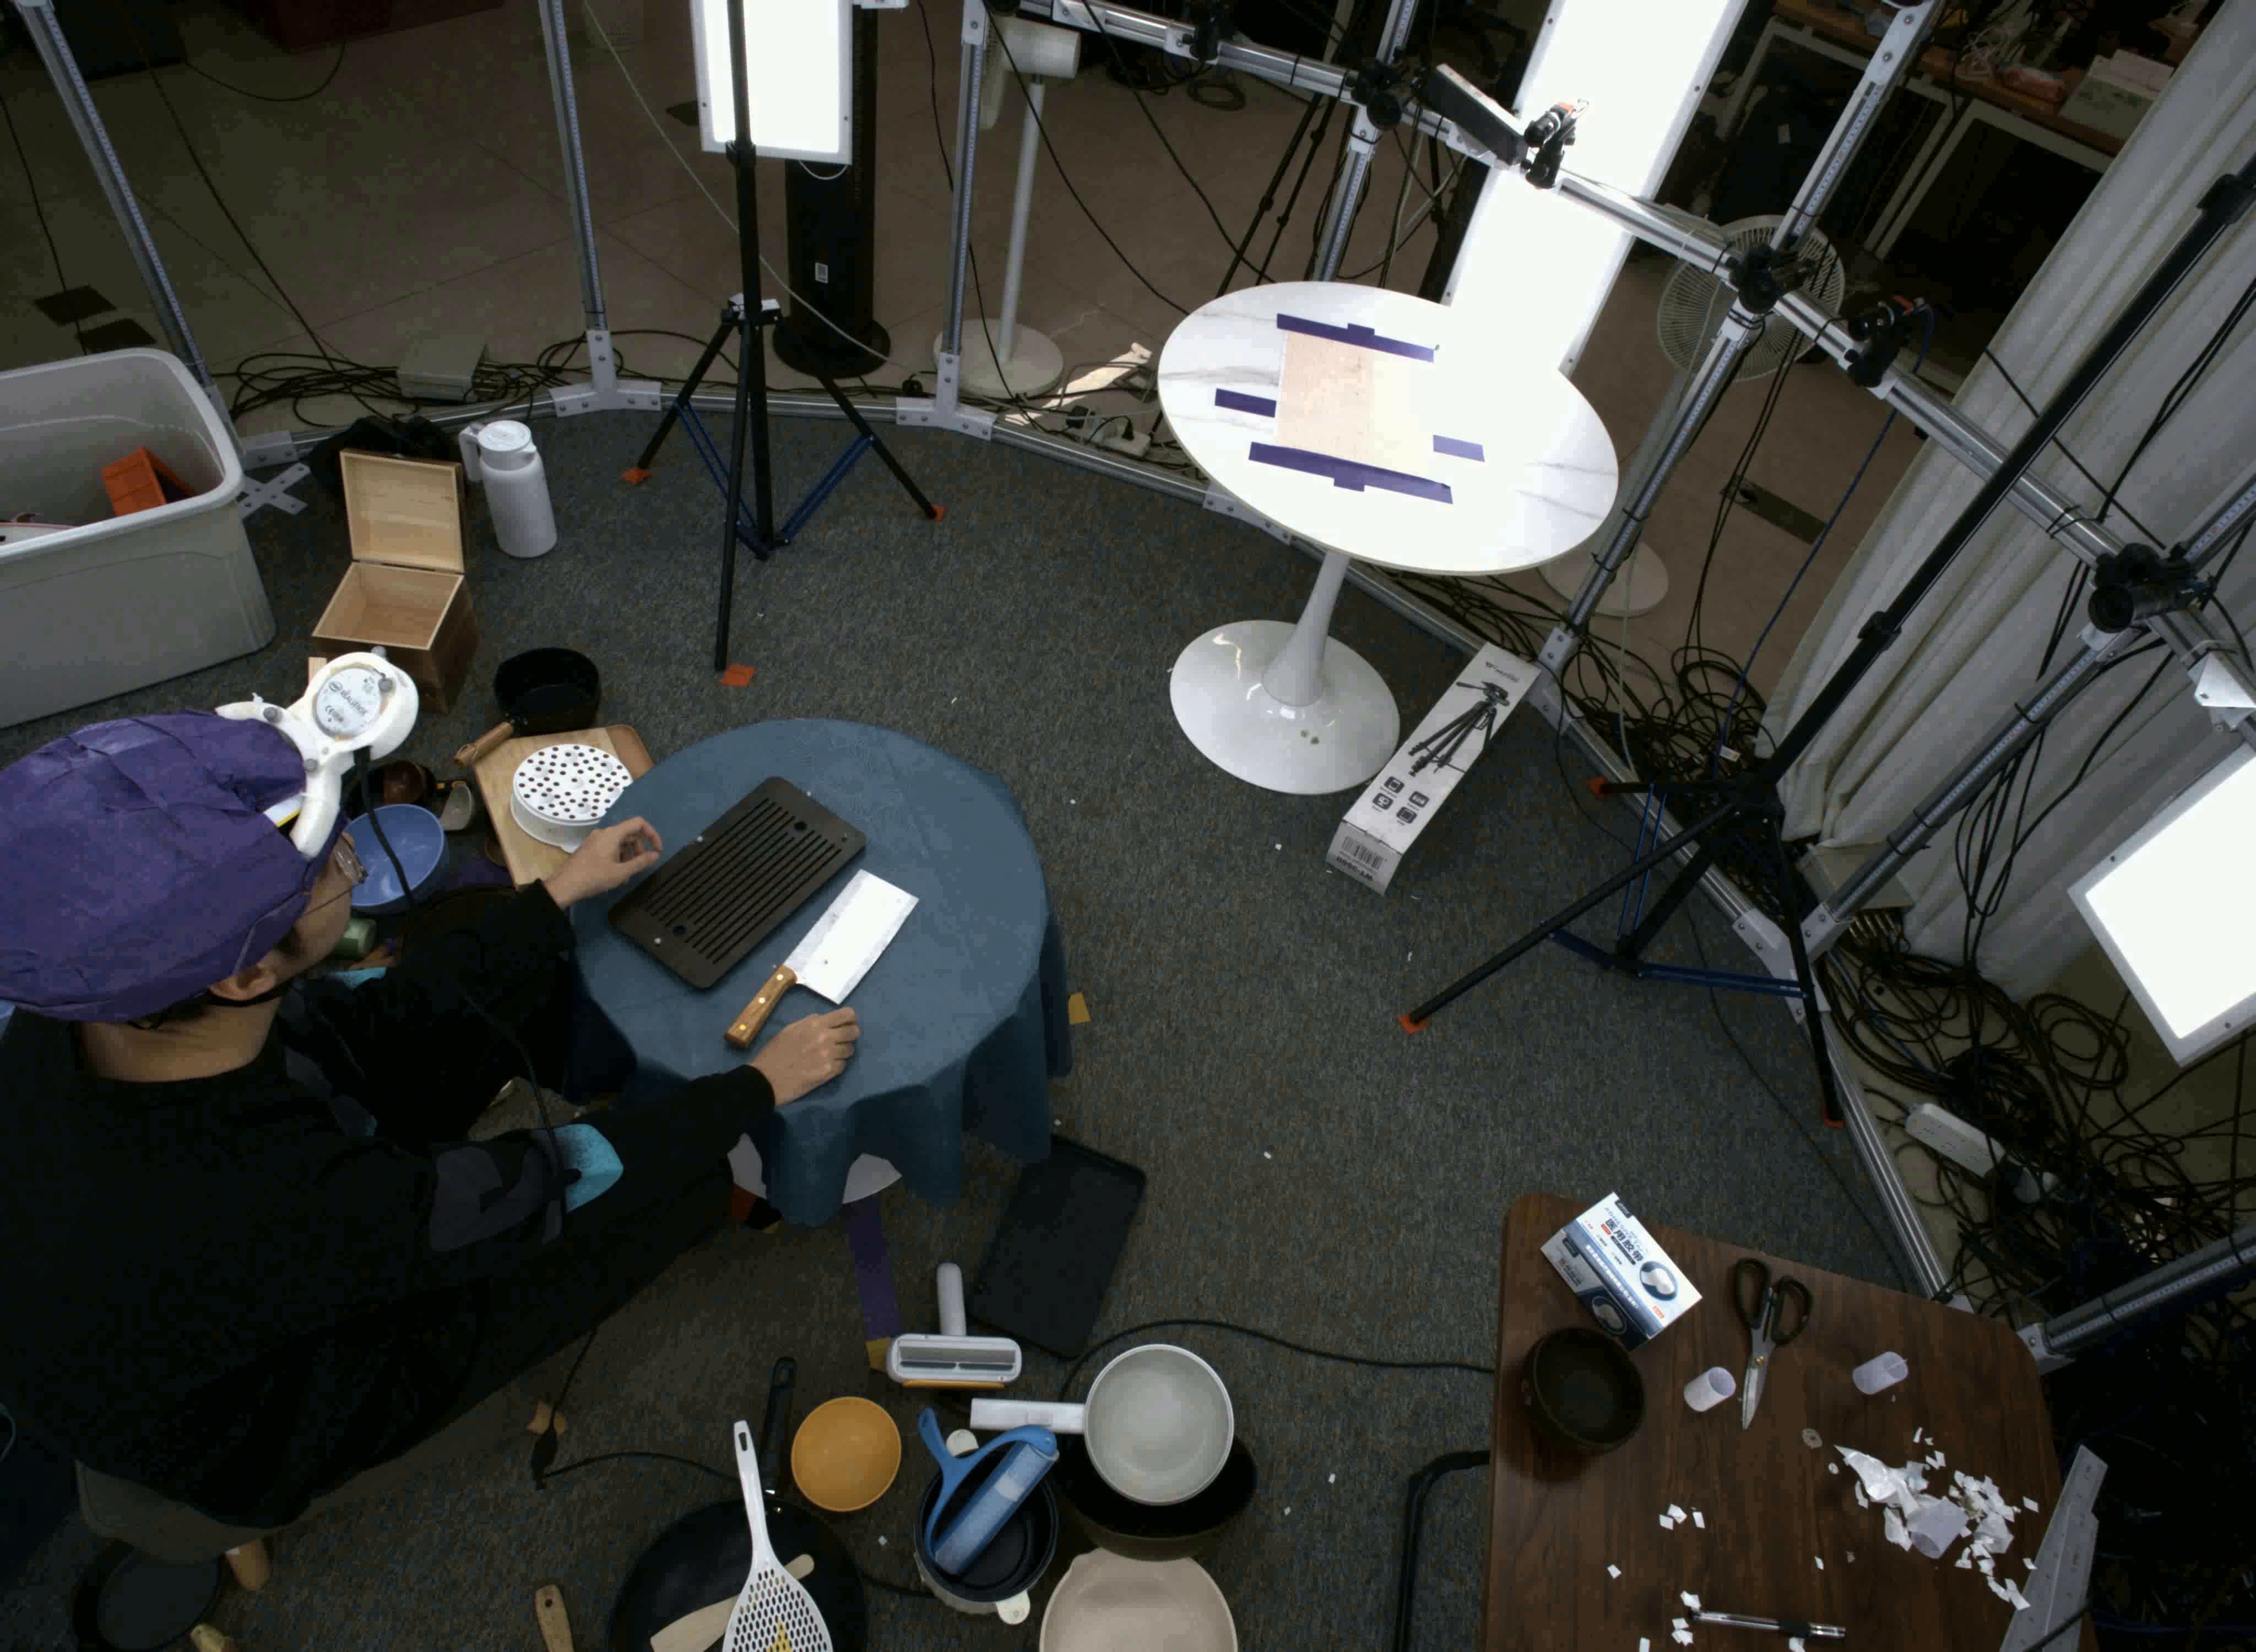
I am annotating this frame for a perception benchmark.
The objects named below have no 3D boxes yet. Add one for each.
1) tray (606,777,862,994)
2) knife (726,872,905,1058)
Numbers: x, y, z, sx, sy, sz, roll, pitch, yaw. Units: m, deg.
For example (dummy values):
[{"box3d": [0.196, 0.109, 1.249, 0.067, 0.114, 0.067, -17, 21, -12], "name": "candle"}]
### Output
[{"box3d": [-0.494, 0.067, 1.633, 0.167, 0.019, 0.305, 34, 53, 11], "name": "tray"}, {"box3d": [-0.373, 0.171, 1.589, 0.092, 0.021, 0.304, 28, 49, 5], "name": "knife"}]
